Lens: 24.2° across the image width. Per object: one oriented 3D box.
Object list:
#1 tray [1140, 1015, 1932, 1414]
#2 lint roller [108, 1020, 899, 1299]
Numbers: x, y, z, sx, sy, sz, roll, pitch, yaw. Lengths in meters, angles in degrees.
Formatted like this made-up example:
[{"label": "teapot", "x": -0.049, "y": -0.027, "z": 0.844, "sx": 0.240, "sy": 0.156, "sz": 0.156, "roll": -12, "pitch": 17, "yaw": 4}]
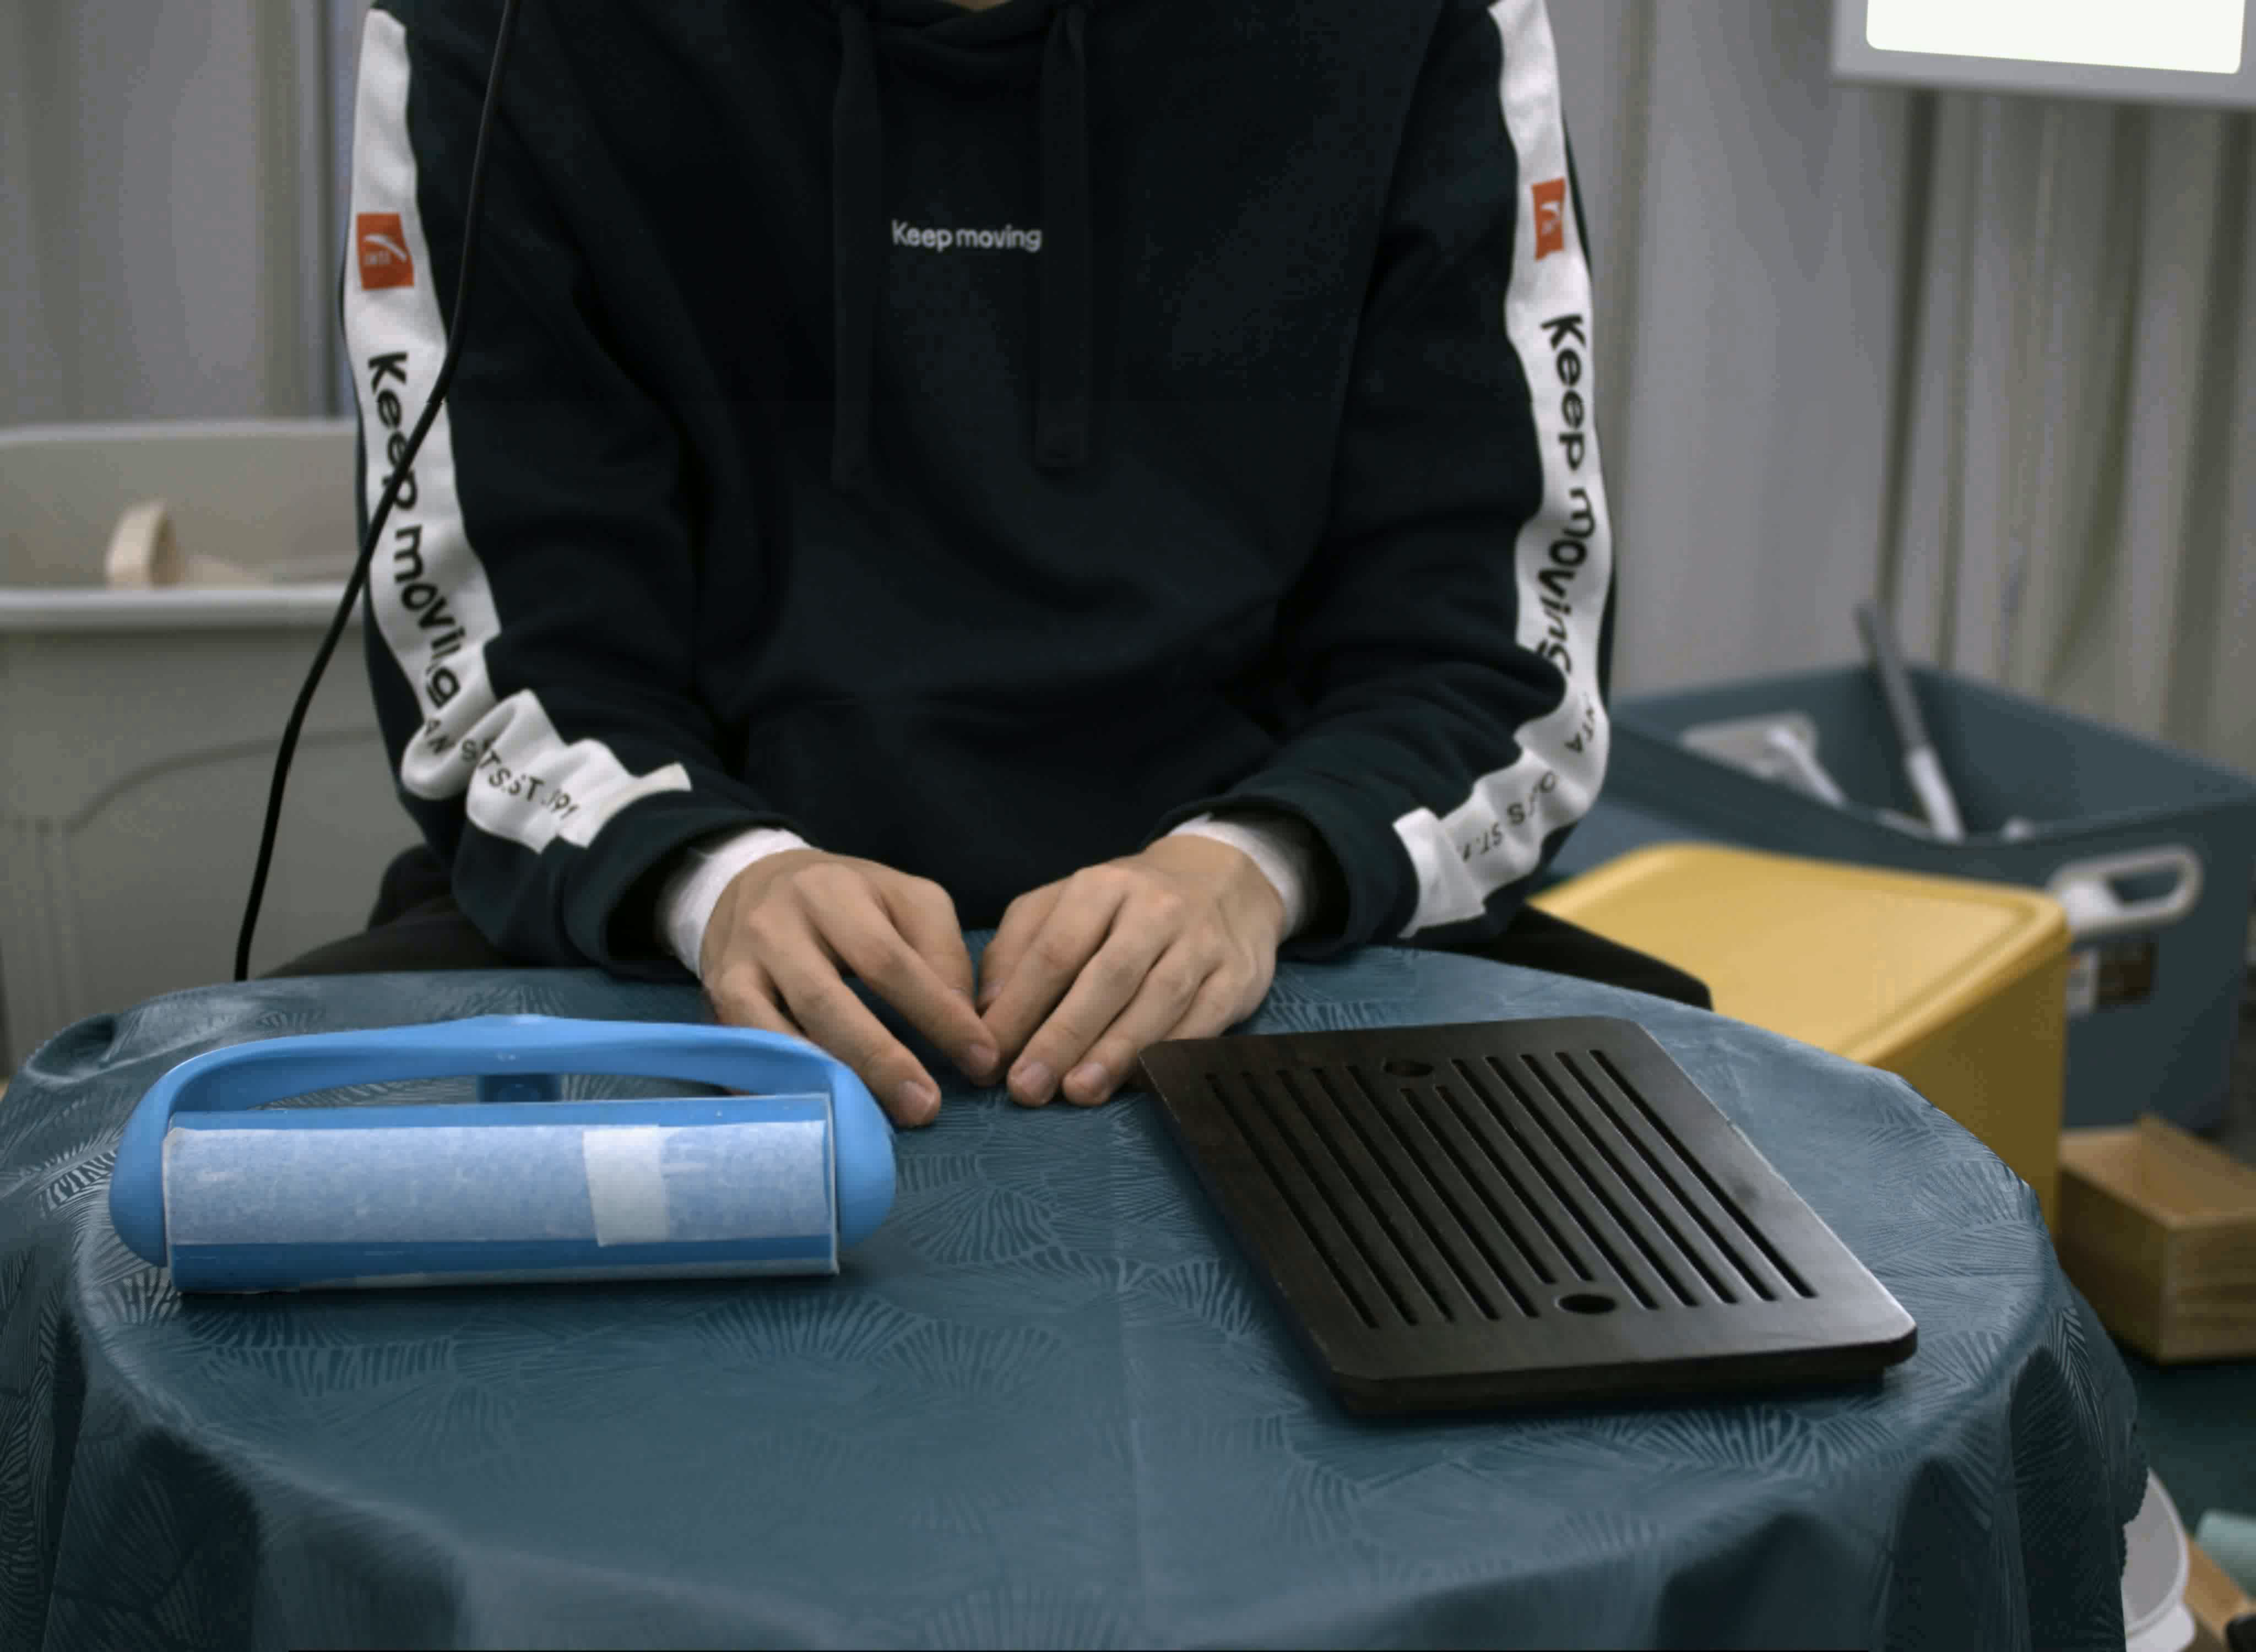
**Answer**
[{"label": "tray", "x": 0.114, "y": 0.113, "z": 1.585, "sx": 0.170, "sy": 0.019, "sz": 0.303, "roll": -3, "pitch": 16, "yaw": -11}, {"label": "lint roller", "x": -0.189, "y": 0.089, "z": 1.588, "sx": 0.229, "sy": 0.068, "sz": 0.179, "roll": -4, "pitch": 17, "yaw": -7}]
